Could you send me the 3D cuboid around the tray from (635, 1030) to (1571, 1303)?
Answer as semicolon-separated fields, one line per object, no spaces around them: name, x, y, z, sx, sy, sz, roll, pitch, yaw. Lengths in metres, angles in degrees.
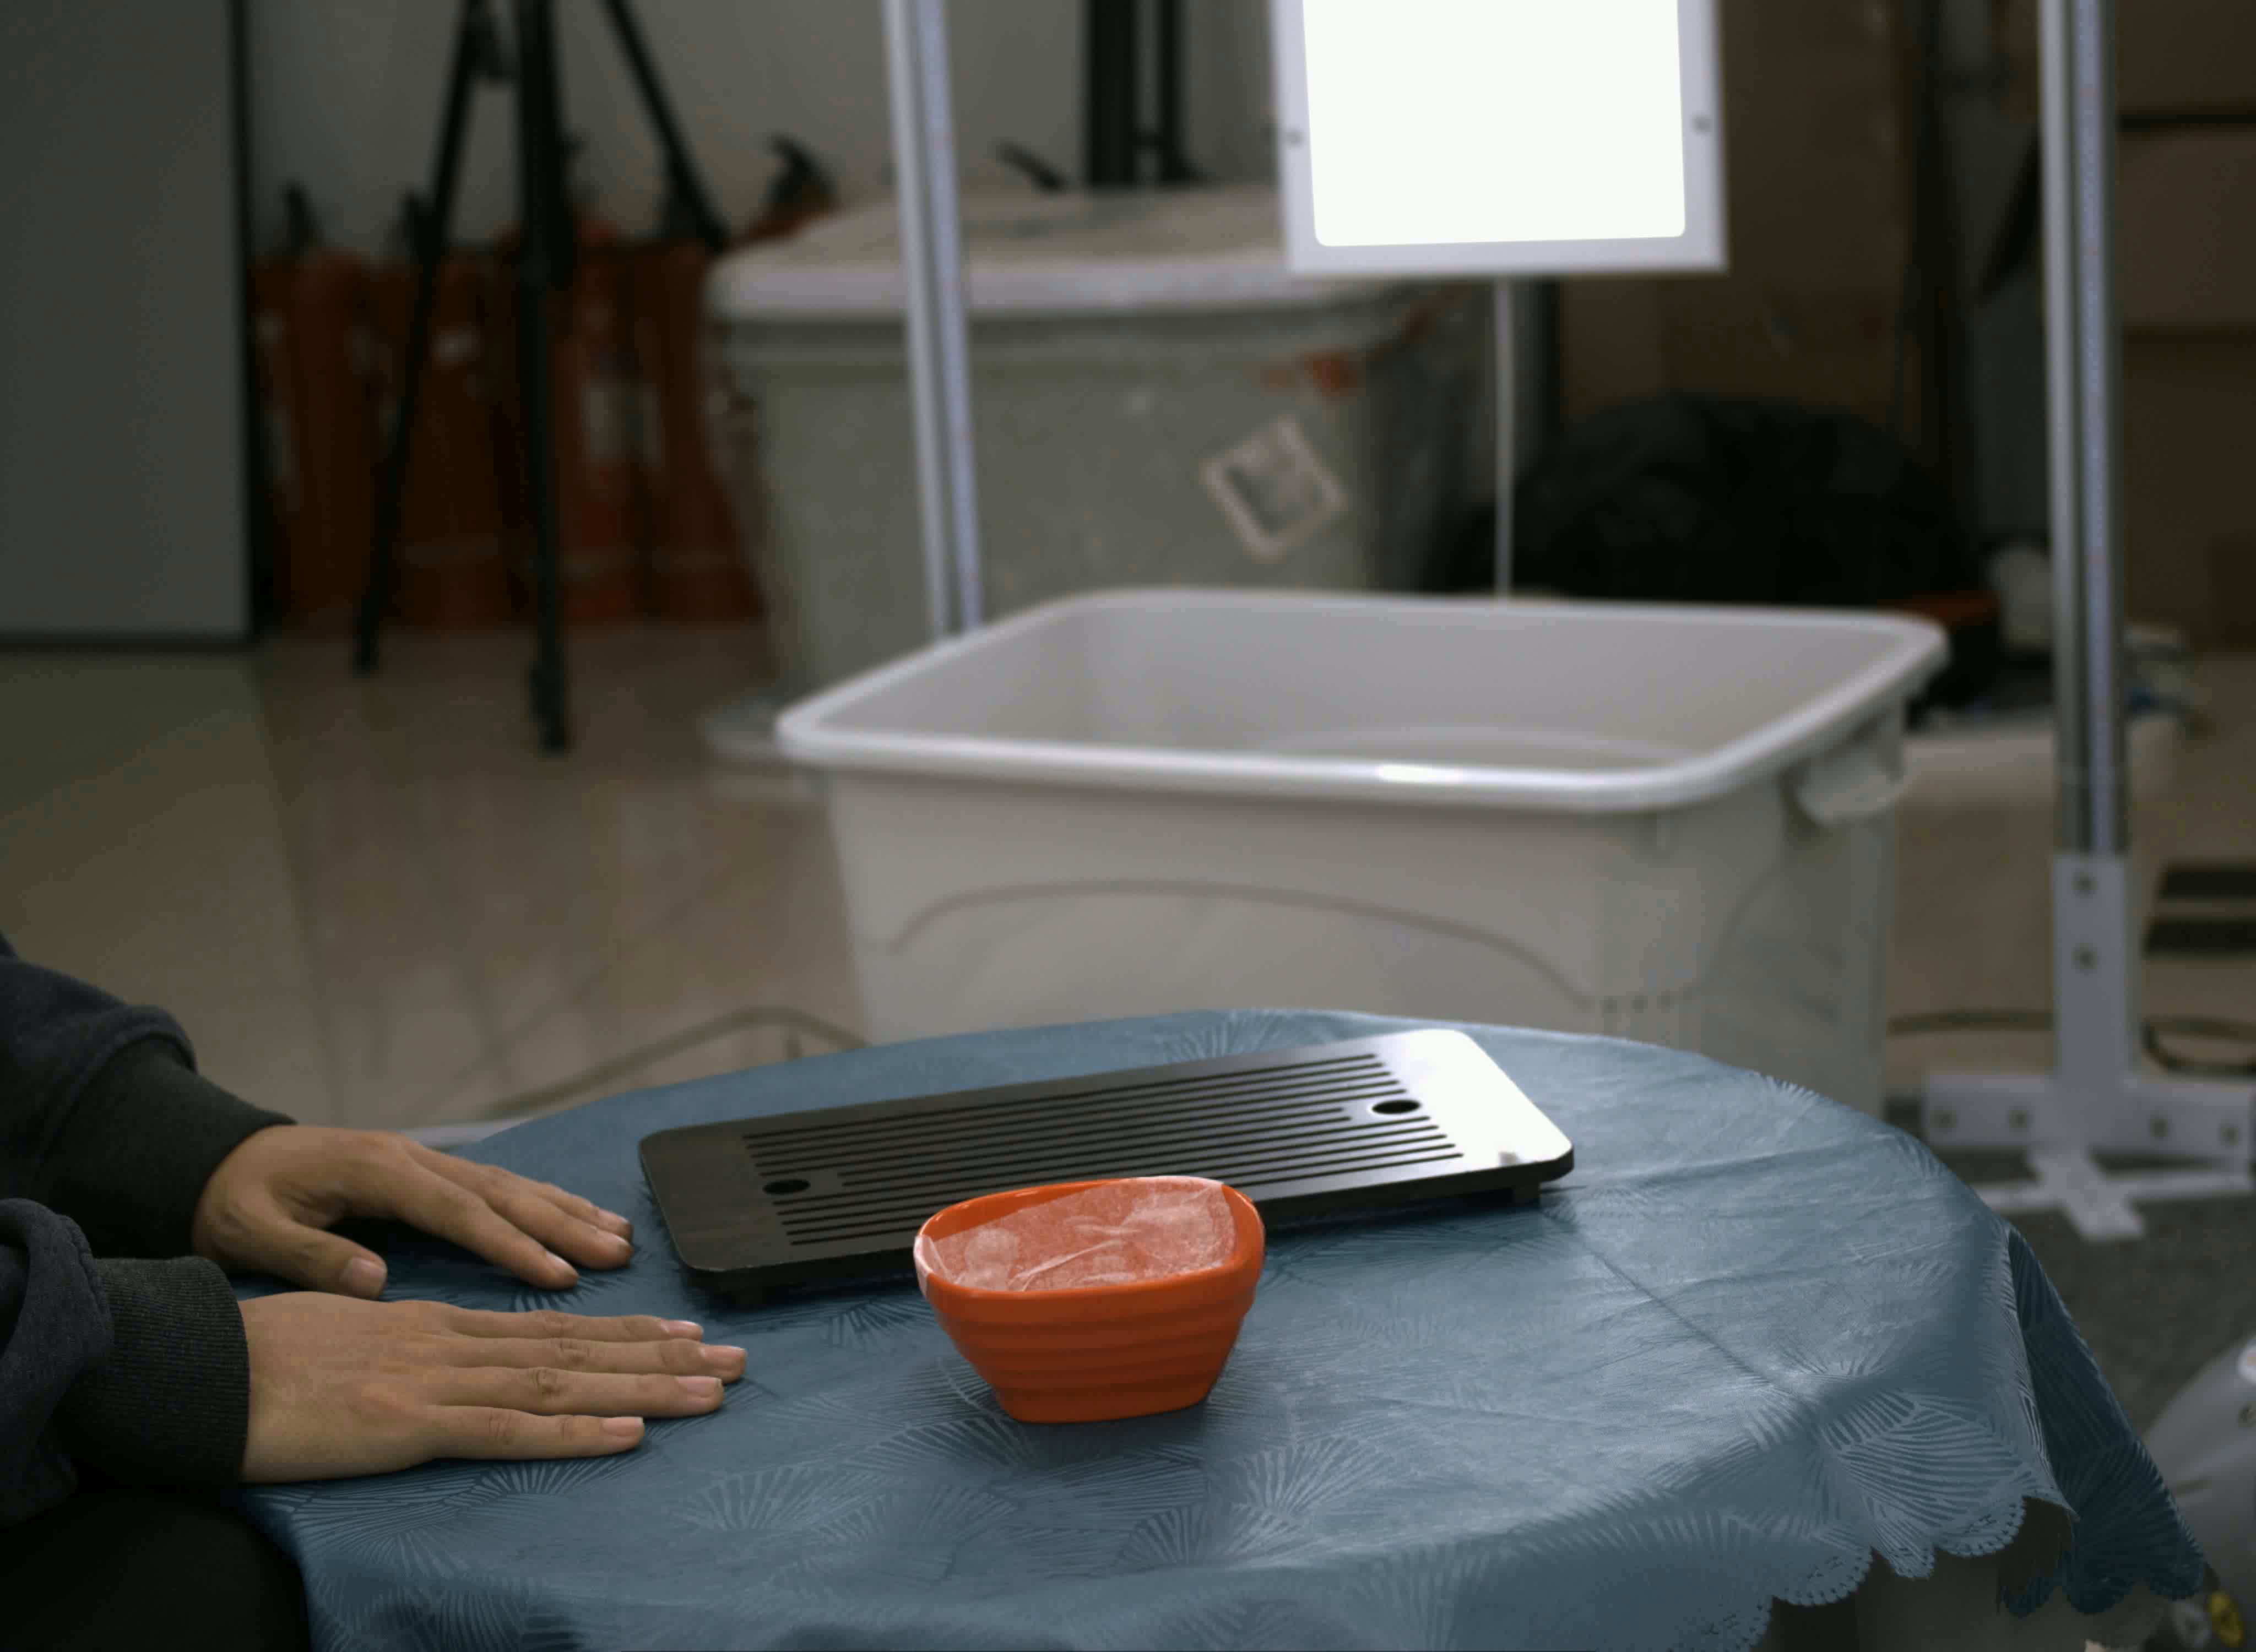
tray;-0.012;0.117;1.903;0.303;0.019;0.171;-7;14;-8

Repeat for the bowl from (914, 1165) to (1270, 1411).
bowl;-0.011;0.145;1.702;0.118;0.051;0.119;-1;15;-1
